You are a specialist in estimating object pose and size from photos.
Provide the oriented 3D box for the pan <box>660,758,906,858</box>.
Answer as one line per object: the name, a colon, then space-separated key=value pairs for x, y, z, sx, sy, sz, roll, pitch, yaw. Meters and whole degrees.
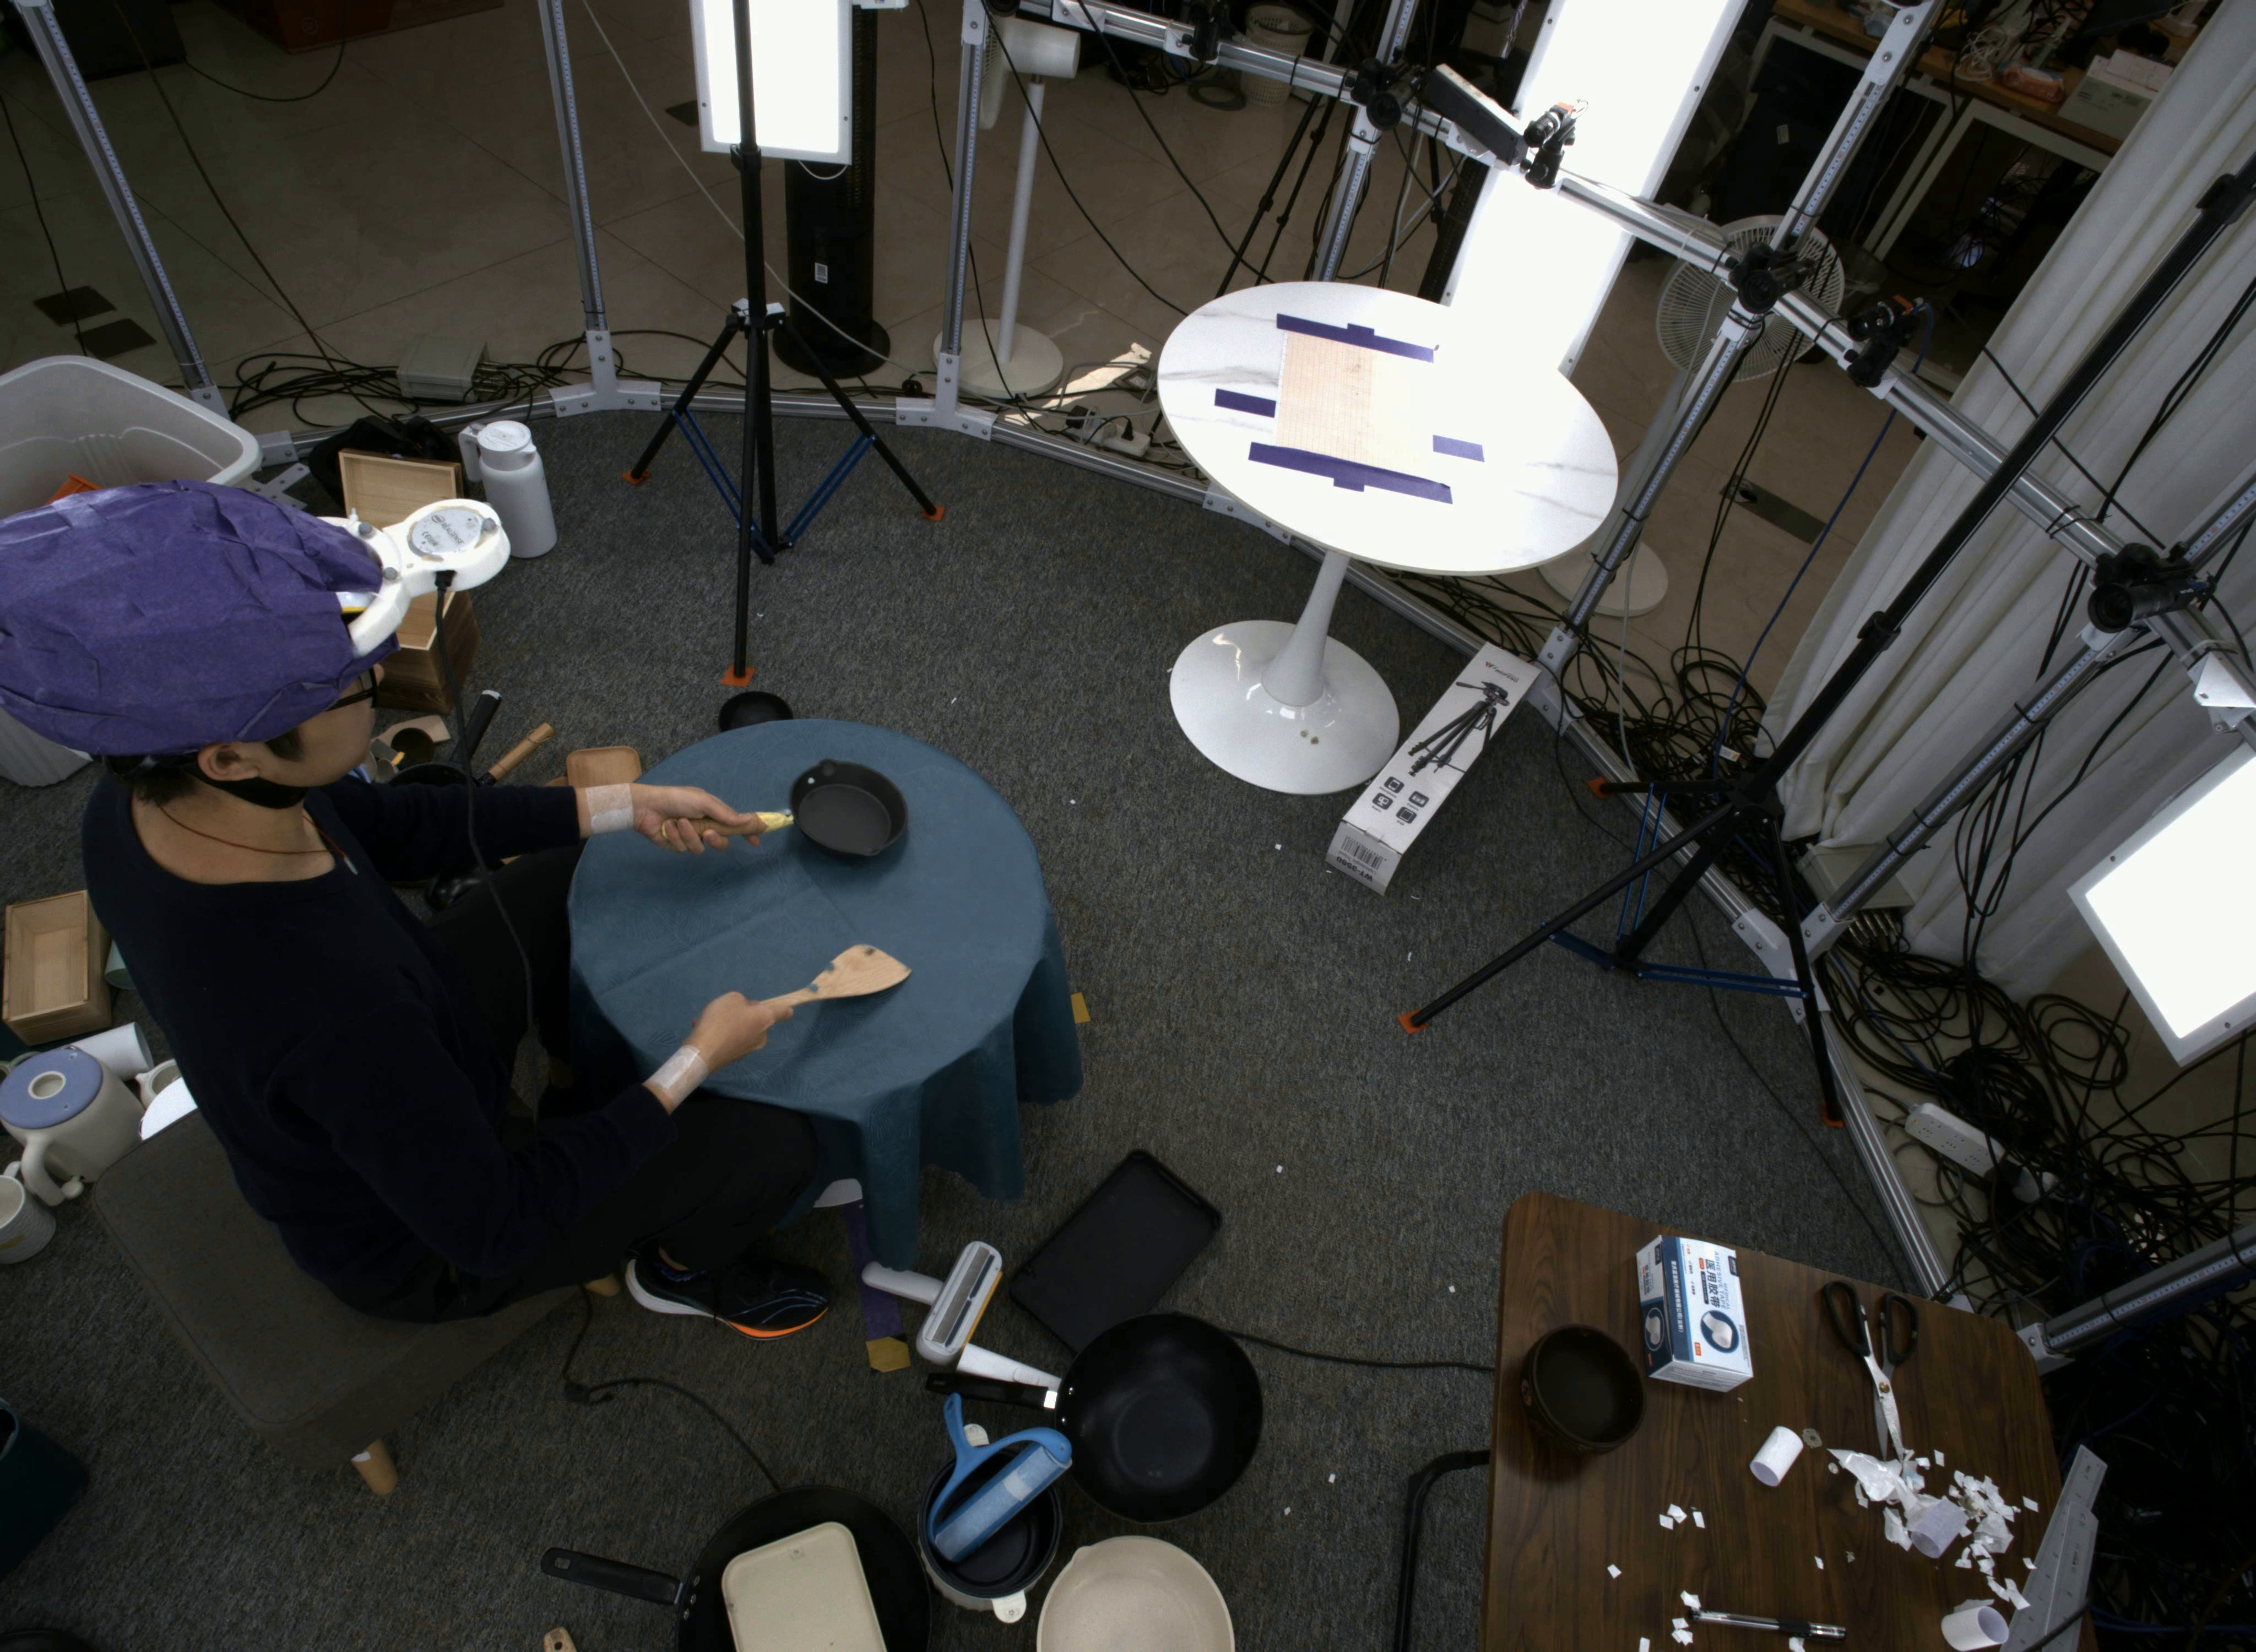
pan: x=-0.438 y=-0.011 z=1.651 sx=0.328 sy=0.050 sz=0.165 roll=-9 pitch=56 yaw=-36

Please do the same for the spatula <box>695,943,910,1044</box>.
spatula: x=-0.373 y=0.190 z=1.485 sx=0.078 sy=0.017 sz=0.331 roll=36 pitch=22 yaw=17
